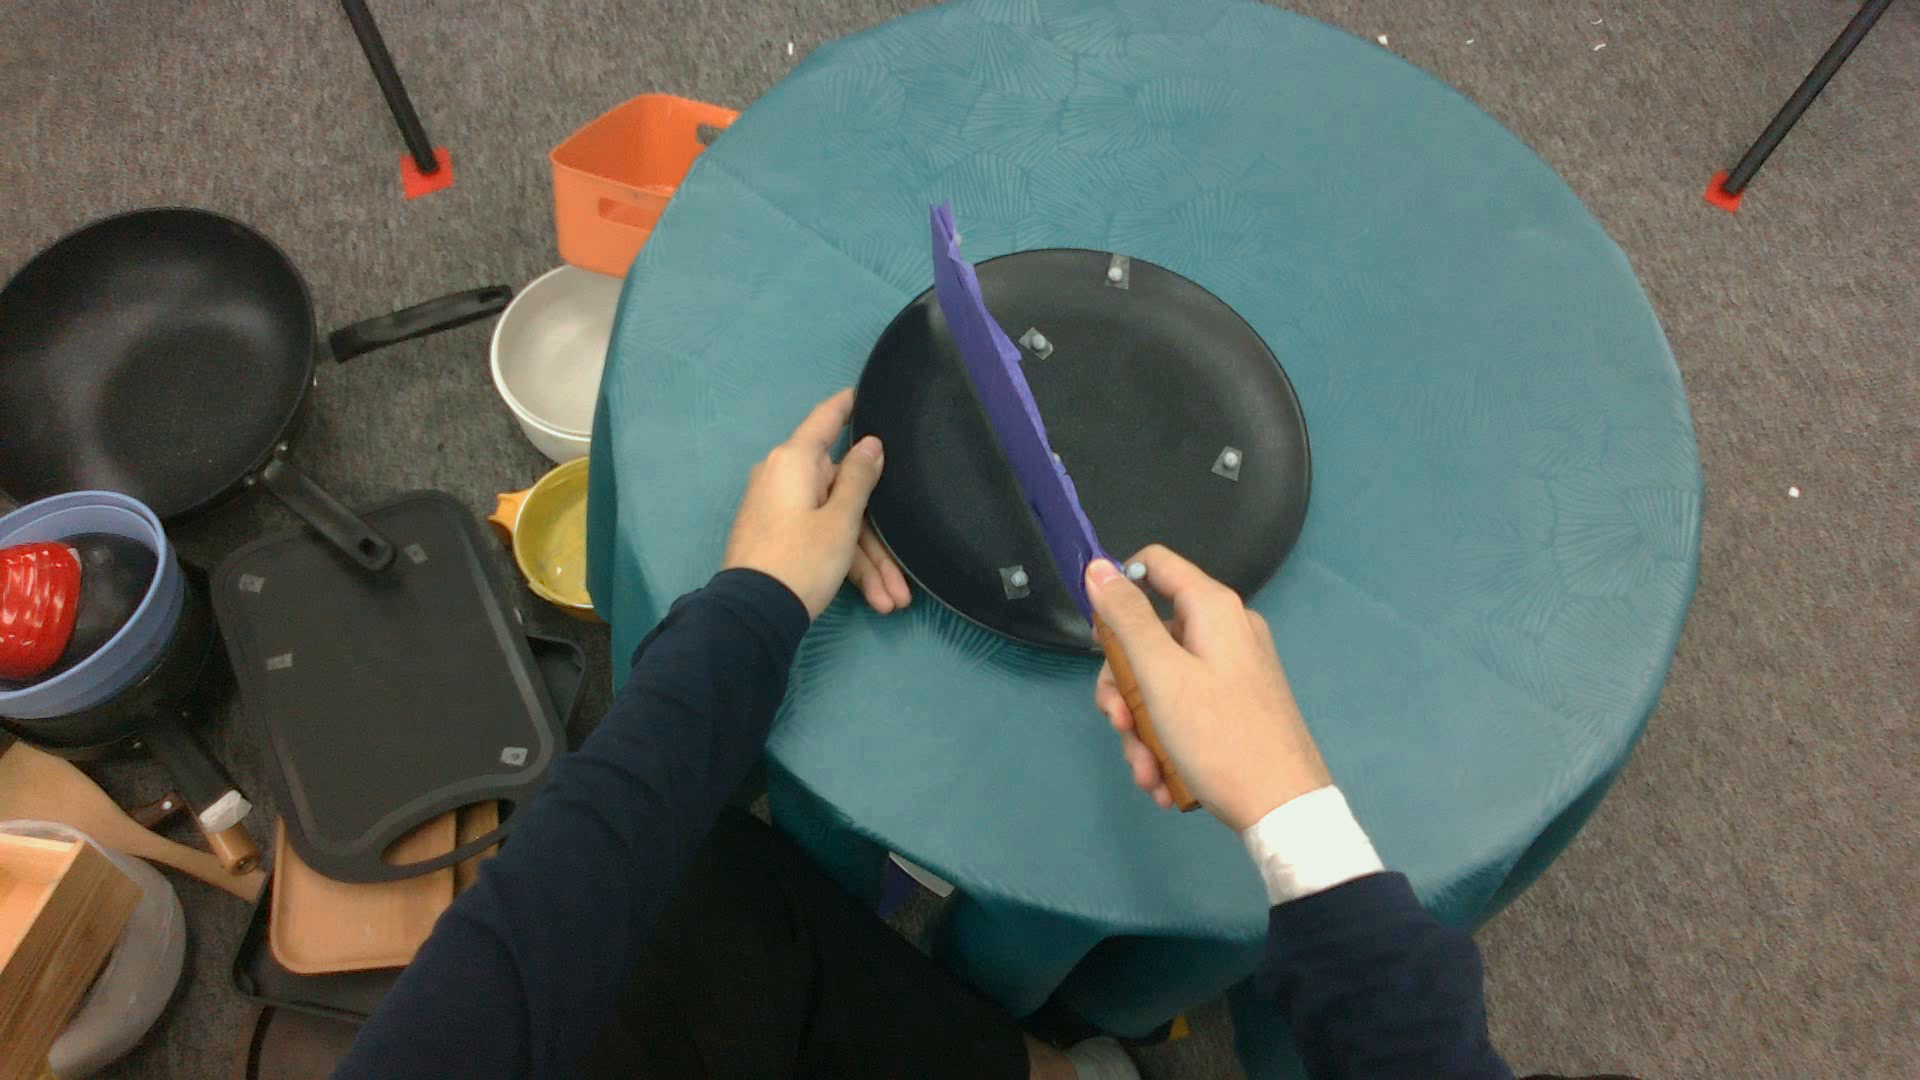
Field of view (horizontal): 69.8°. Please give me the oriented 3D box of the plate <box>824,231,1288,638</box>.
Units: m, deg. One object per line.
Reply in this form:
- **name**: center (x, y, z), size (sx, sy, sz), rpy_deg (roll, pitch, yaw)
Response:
- **plate**: center (0.051, -0.059, 0.724), size (0.244, 0.023, 0.245), rpy_deg (3, 64, -5)

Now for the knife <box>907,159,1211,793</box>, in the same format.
- **knife**: center (0.036, -0.028, 0.643), size (0.032, 0.103, 0.316), rpy_deg (-20, 70, -6)
